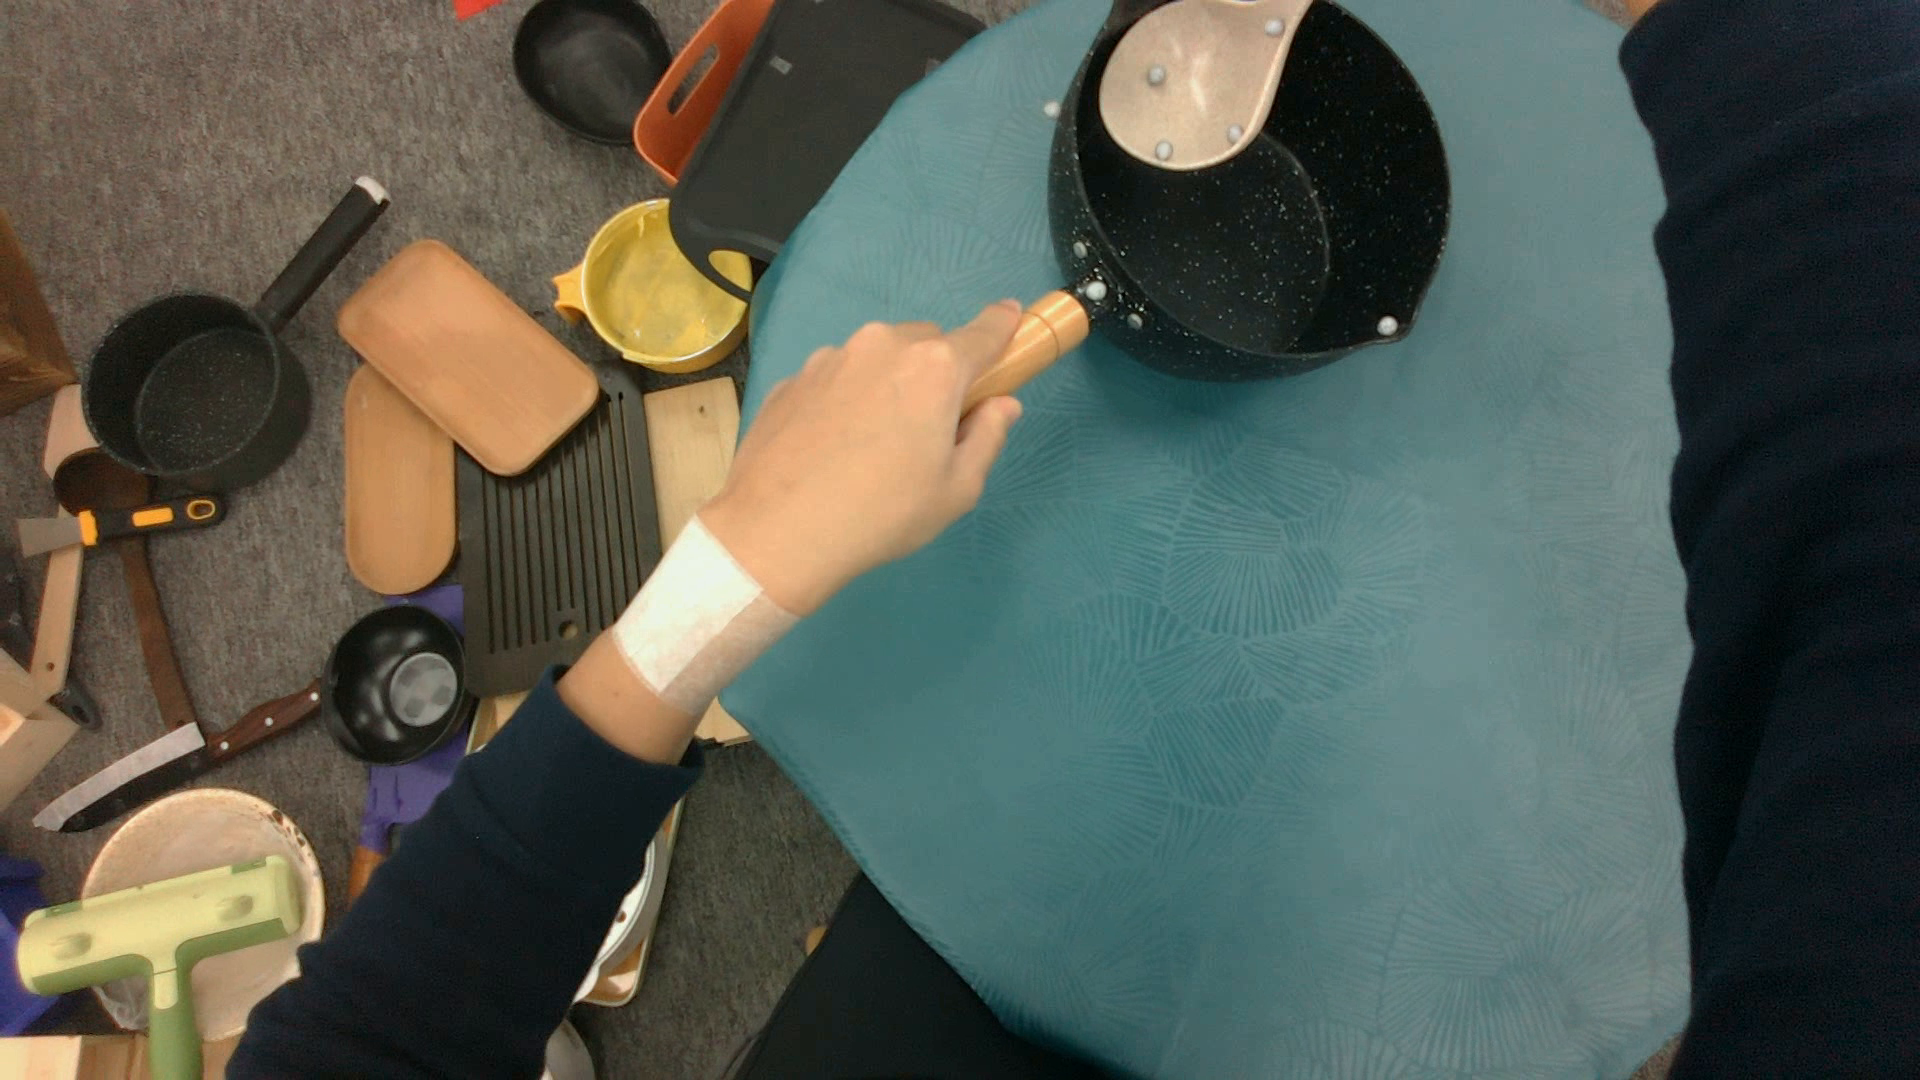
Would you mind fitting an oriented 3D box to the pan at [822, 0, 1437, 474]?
[{"bbox_3d":[0.068,-0.122,0.620,0.344,0.108,0.207,-40,91,-21],"label":"pan"}]

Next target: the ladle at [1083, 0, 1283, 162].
[{"bbox_3d":[0.129,-0.252,0.531,0.069,0.273,0.089,0,67,-20],"label":"ladle"}]
